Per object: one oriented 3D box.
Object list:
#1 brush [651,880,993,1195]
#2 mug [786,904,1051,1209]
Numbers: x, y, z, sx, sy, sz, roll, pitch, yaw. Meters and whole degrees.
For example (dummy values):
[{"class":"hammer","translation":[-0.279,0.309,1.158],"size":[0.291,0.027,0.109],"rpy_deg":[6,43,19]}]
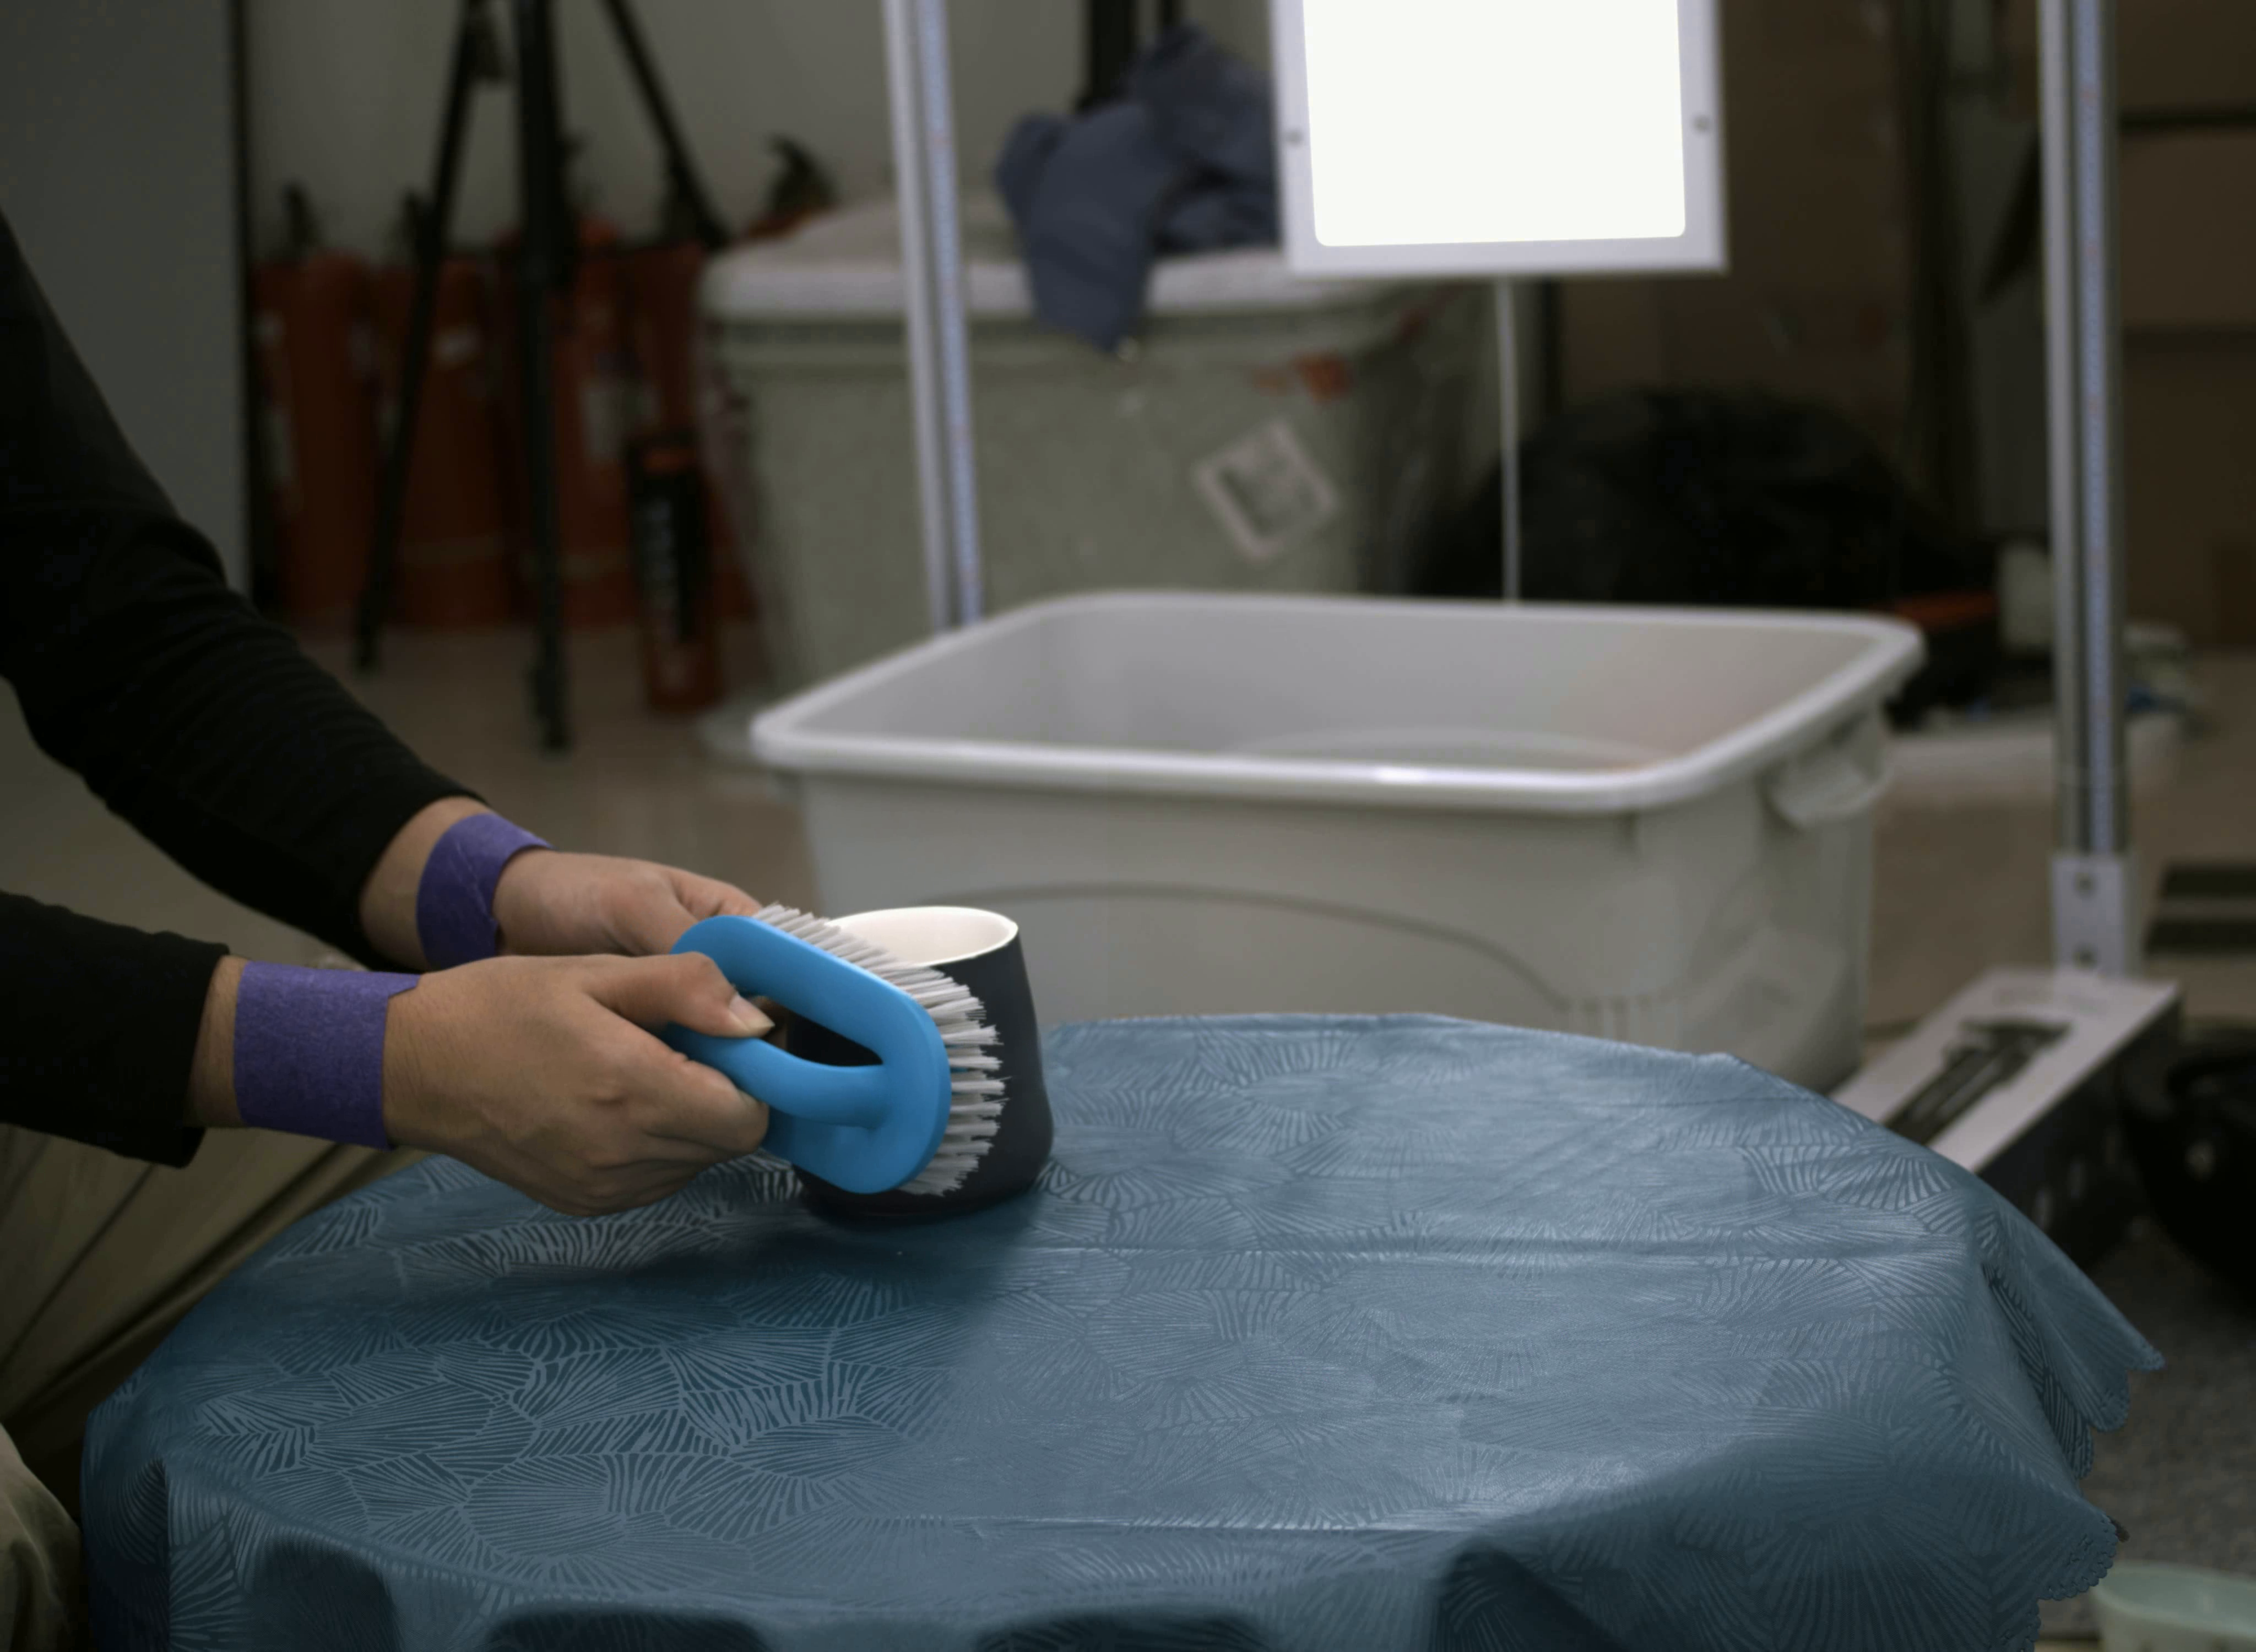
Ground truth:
[{"class":"brush","translation":[-0.114,0.072,1.847],"size":[0.062,0.085,0.144],"rpy_deg":[-5,23,-45]},{"class":"mug","translation":[-0.087,0.078,1.925],"size":[0.125,0.090,0.091],"rpy_deg":[6,17,32]}]
